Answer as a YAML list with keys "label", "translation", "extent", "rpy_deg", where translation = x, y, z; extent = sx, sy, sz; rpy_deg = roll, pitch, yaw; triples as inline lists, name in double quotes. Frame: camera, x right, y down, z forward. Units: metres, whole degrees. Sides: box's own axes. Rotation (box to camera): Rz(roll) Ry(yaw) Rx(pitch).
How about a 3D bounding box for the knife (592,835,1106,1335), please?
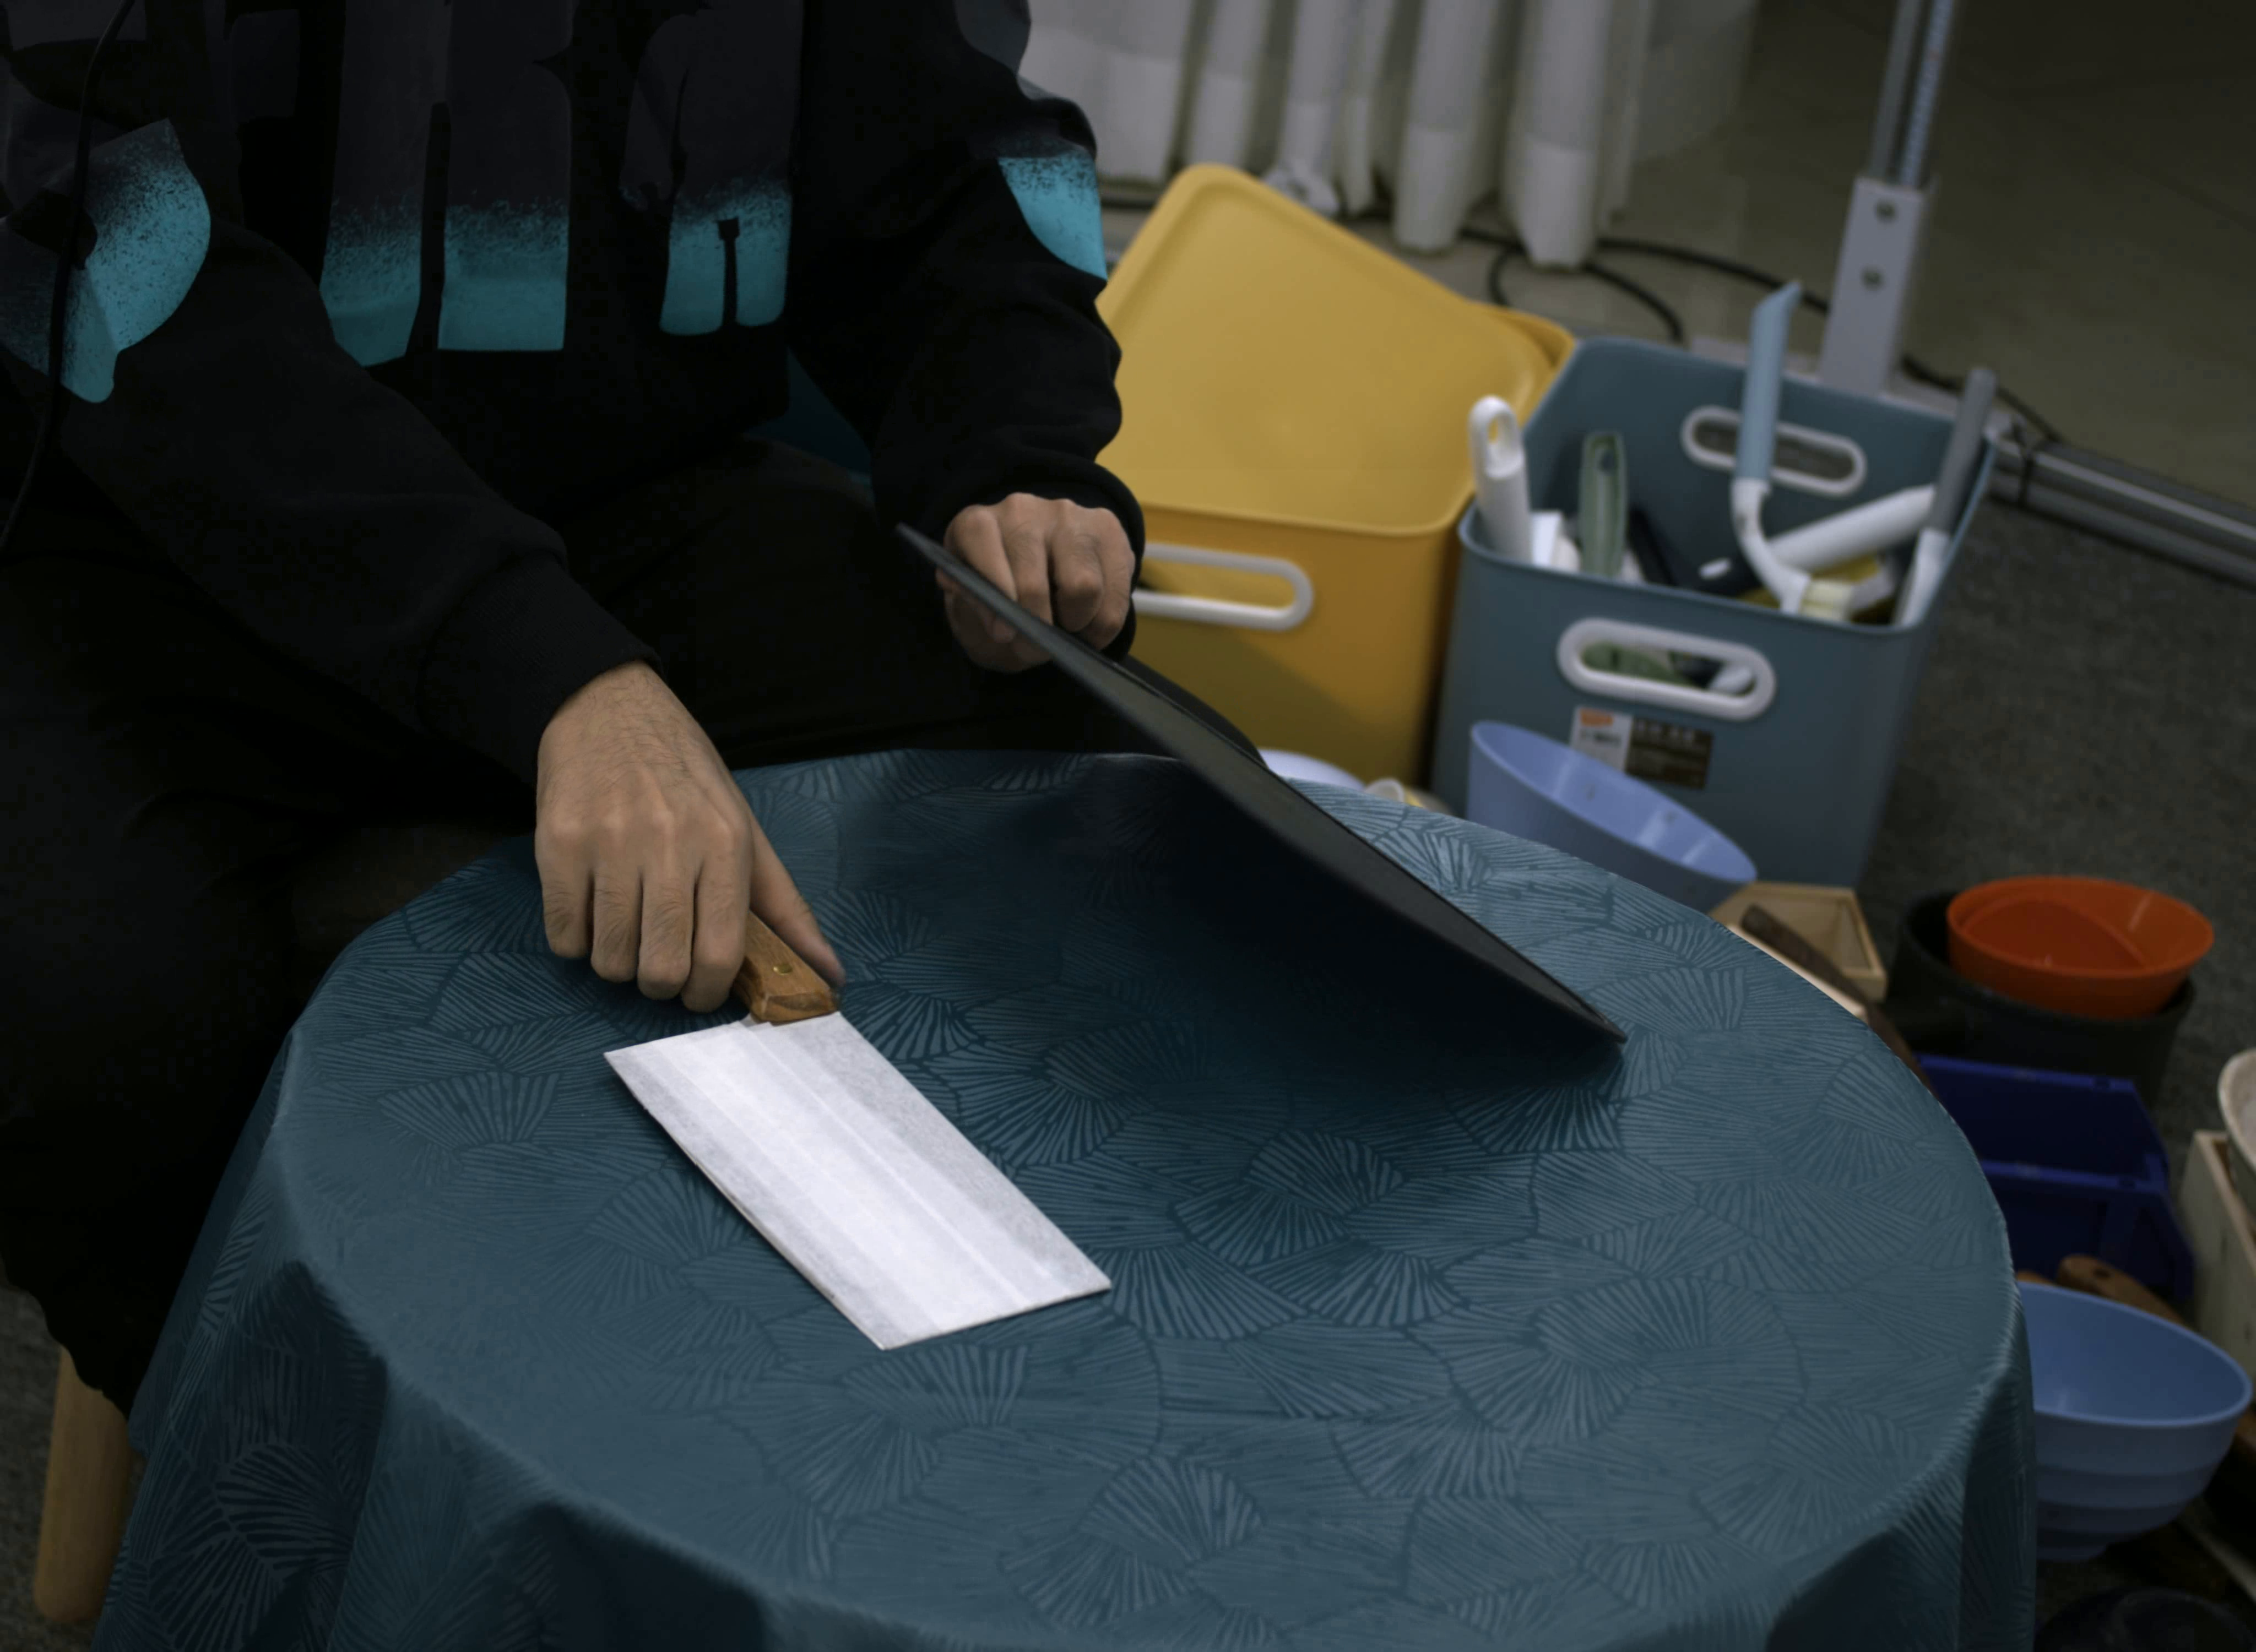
- label: "knife"
  translation: [-0.122, 0.088, 1.829]
  extent: [0.092, 0.021, 0.308]
  rpy_deg: [-13, 35, -30]

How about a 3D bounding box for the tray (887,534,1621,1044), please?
- label: "tray"
  translation: [0.039, -0.021, 1.959]
  extent: [0.209, 0.010, 0.328]
  rpy_deg: [28, 7, -43]
